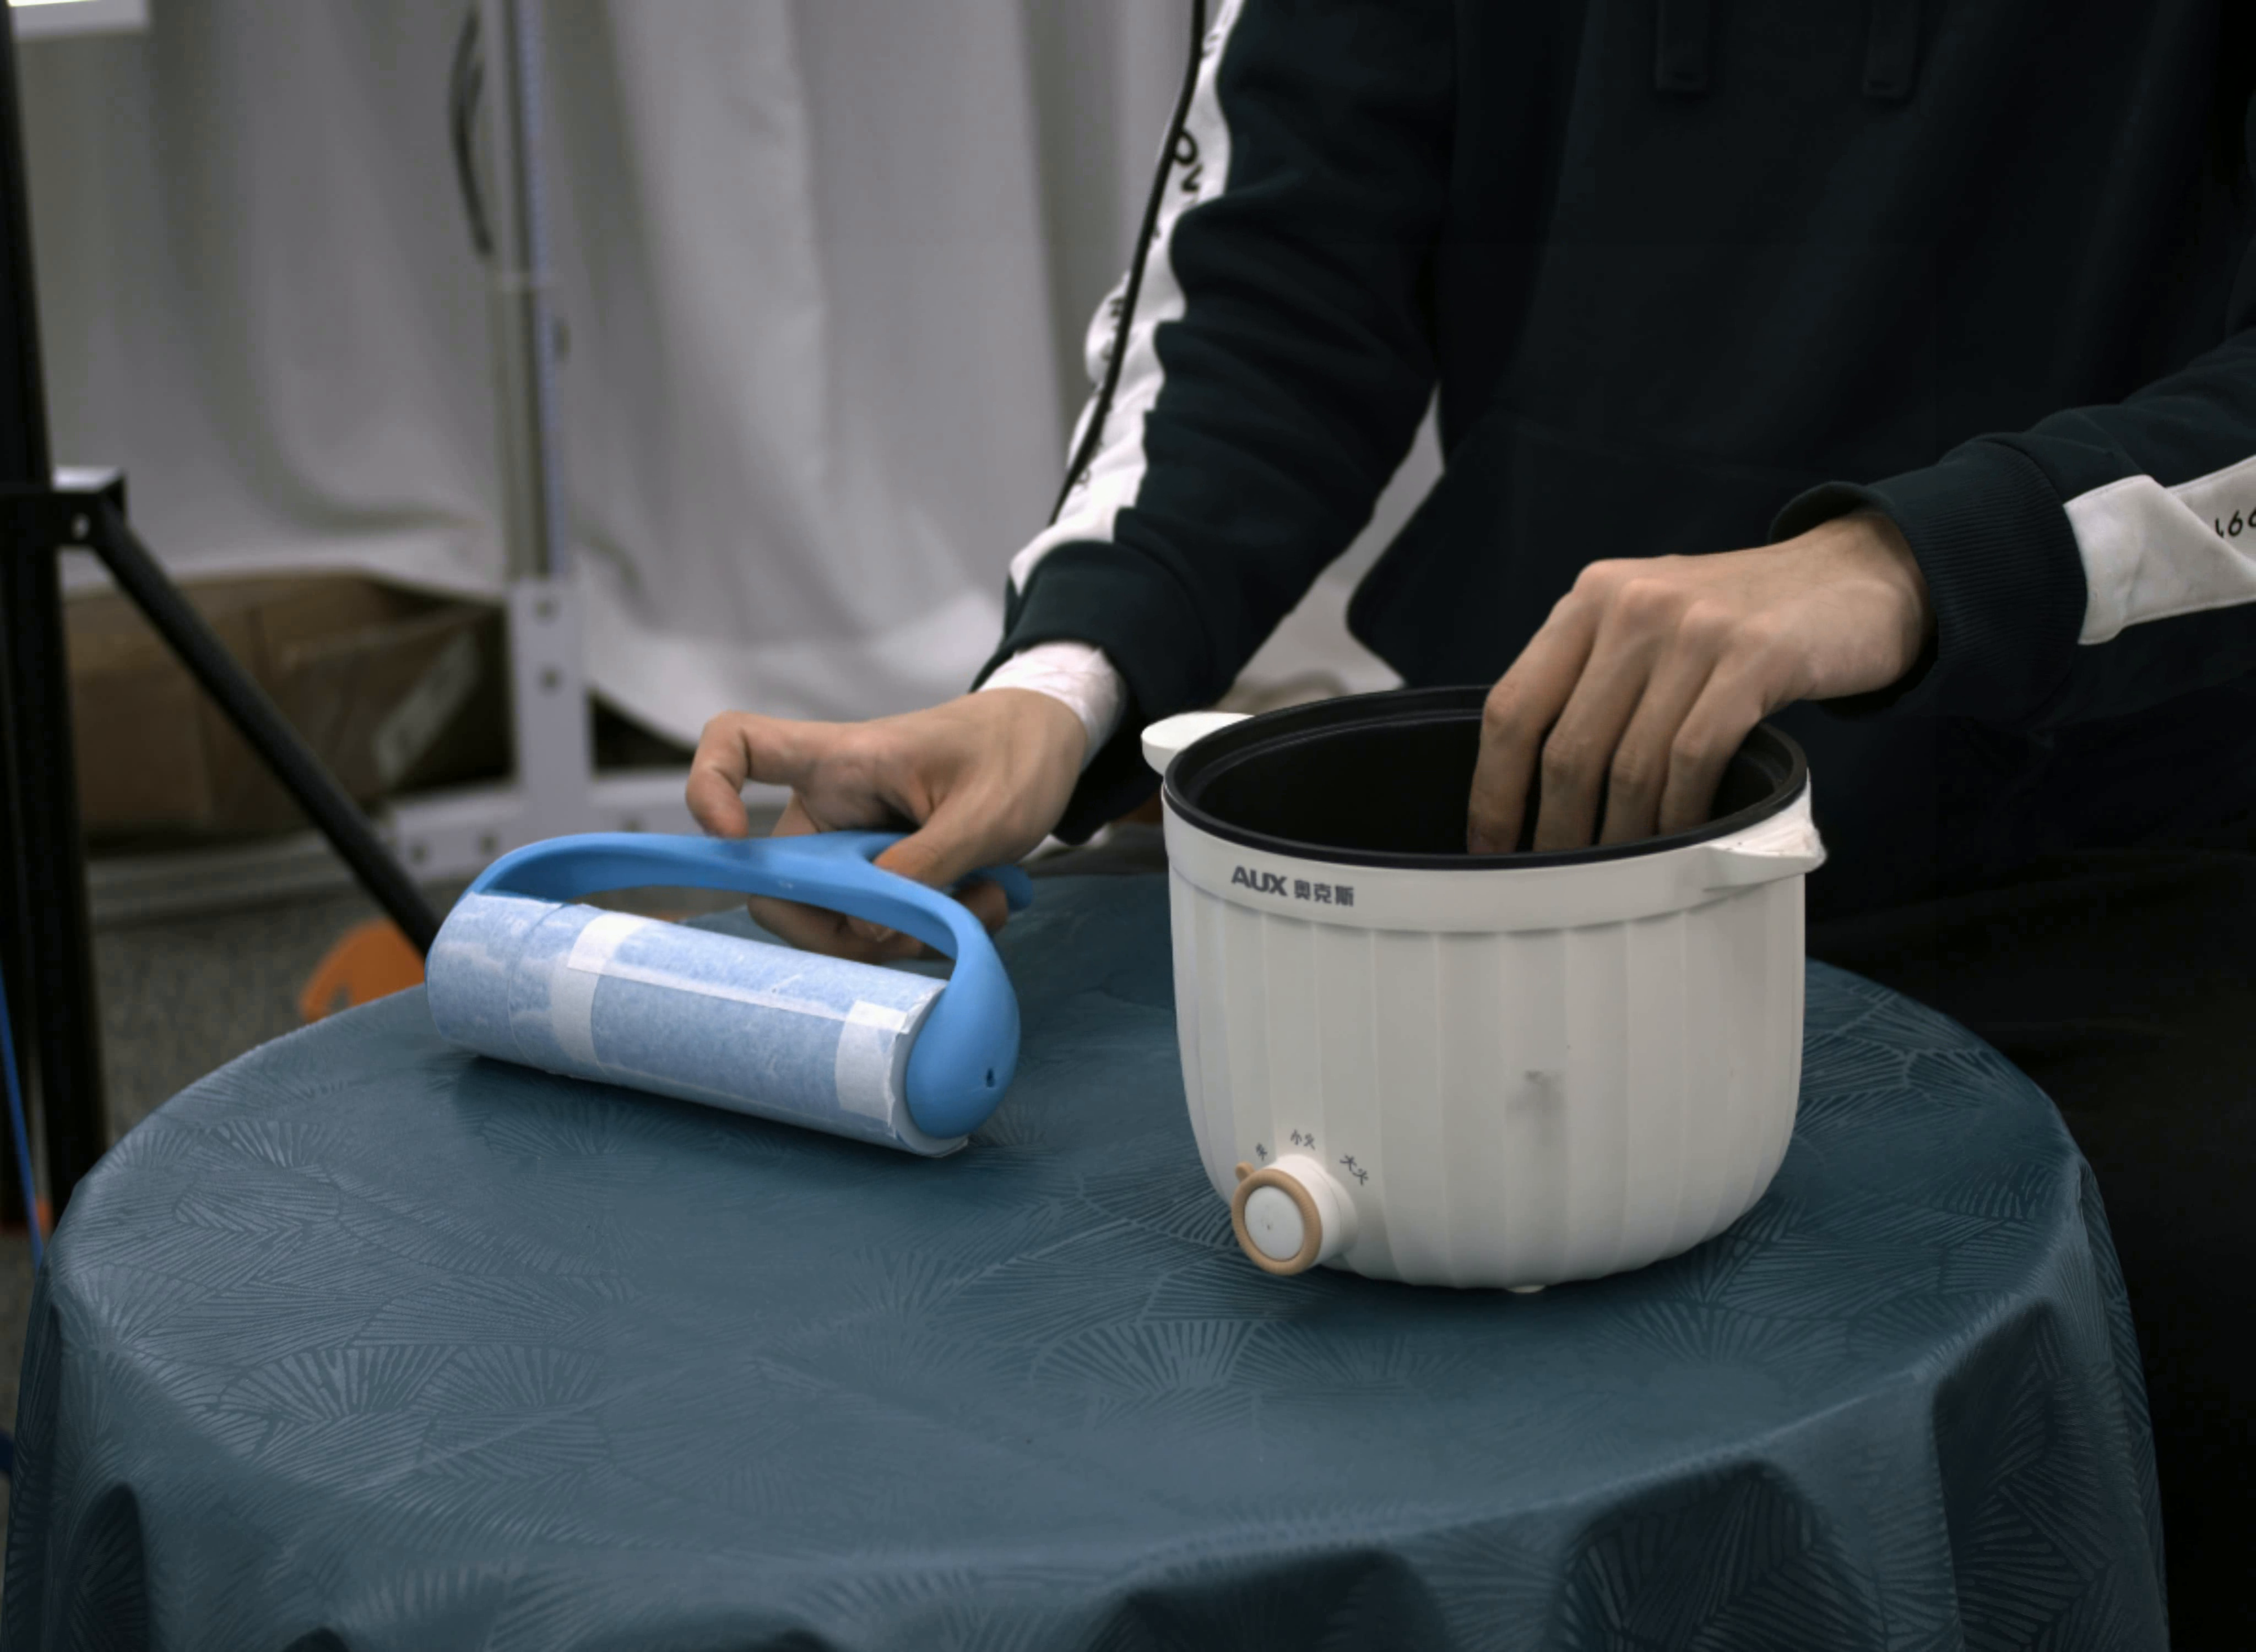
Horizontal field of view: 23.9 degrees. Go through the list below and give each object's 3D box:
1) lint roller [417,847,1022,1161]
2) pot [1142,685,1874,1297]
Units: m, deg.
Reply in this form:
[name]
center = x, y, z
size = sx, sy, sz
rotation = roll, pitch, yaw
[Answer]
[lint roller]
center = -0.099, 0.038, 1.692
size = 0.233, 0.067, 0.177
rotation = 5, 27, 35
[pot]
center = 0.101, 0.049, 1.495
size = 0.245, 0.143, 0.186
rotation = 9, 16, 40
